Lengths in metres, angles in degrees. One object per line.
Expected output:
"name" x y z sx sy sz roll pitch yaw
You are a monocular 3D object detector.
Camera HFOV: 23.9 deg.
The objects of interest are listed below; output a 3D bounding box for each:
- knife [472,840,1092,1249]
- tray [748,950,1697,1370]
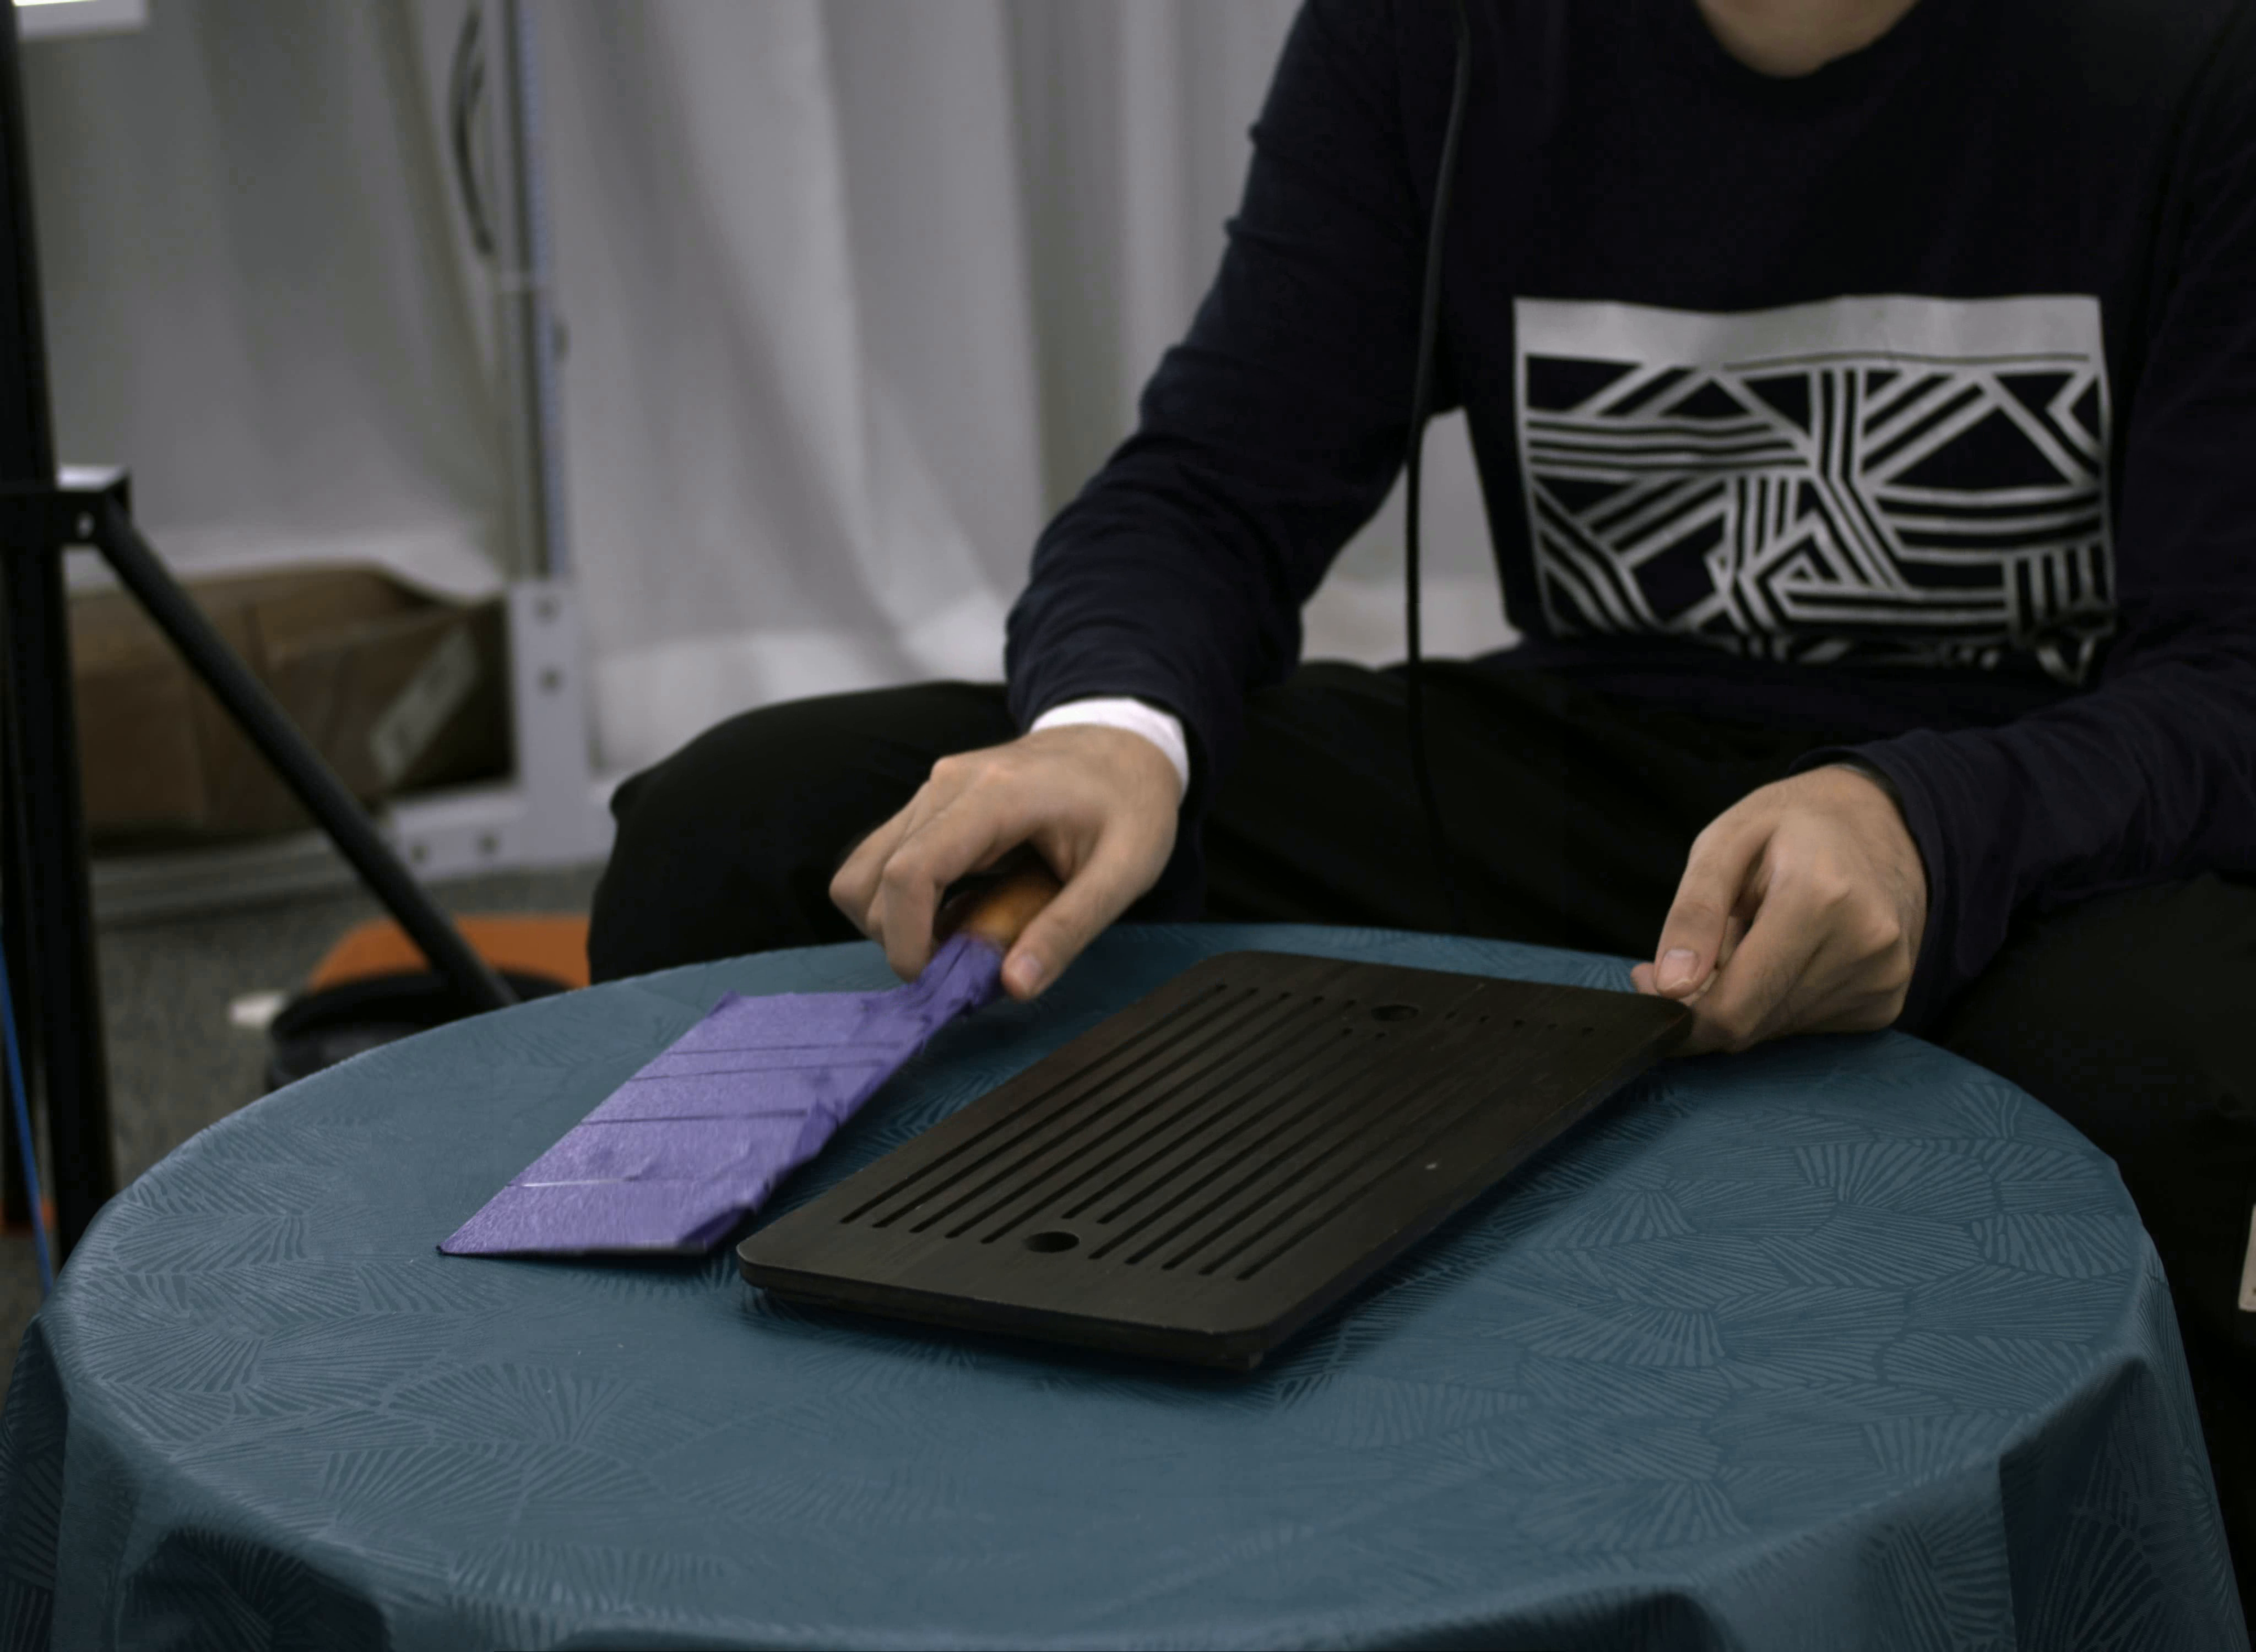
"knife" -0.105 0.065 1.653 0.105 0.032 0.311 -5 15 23
"tray" 0.035 0.095 1.559 0.173 0.018 0.300 5 18 29
